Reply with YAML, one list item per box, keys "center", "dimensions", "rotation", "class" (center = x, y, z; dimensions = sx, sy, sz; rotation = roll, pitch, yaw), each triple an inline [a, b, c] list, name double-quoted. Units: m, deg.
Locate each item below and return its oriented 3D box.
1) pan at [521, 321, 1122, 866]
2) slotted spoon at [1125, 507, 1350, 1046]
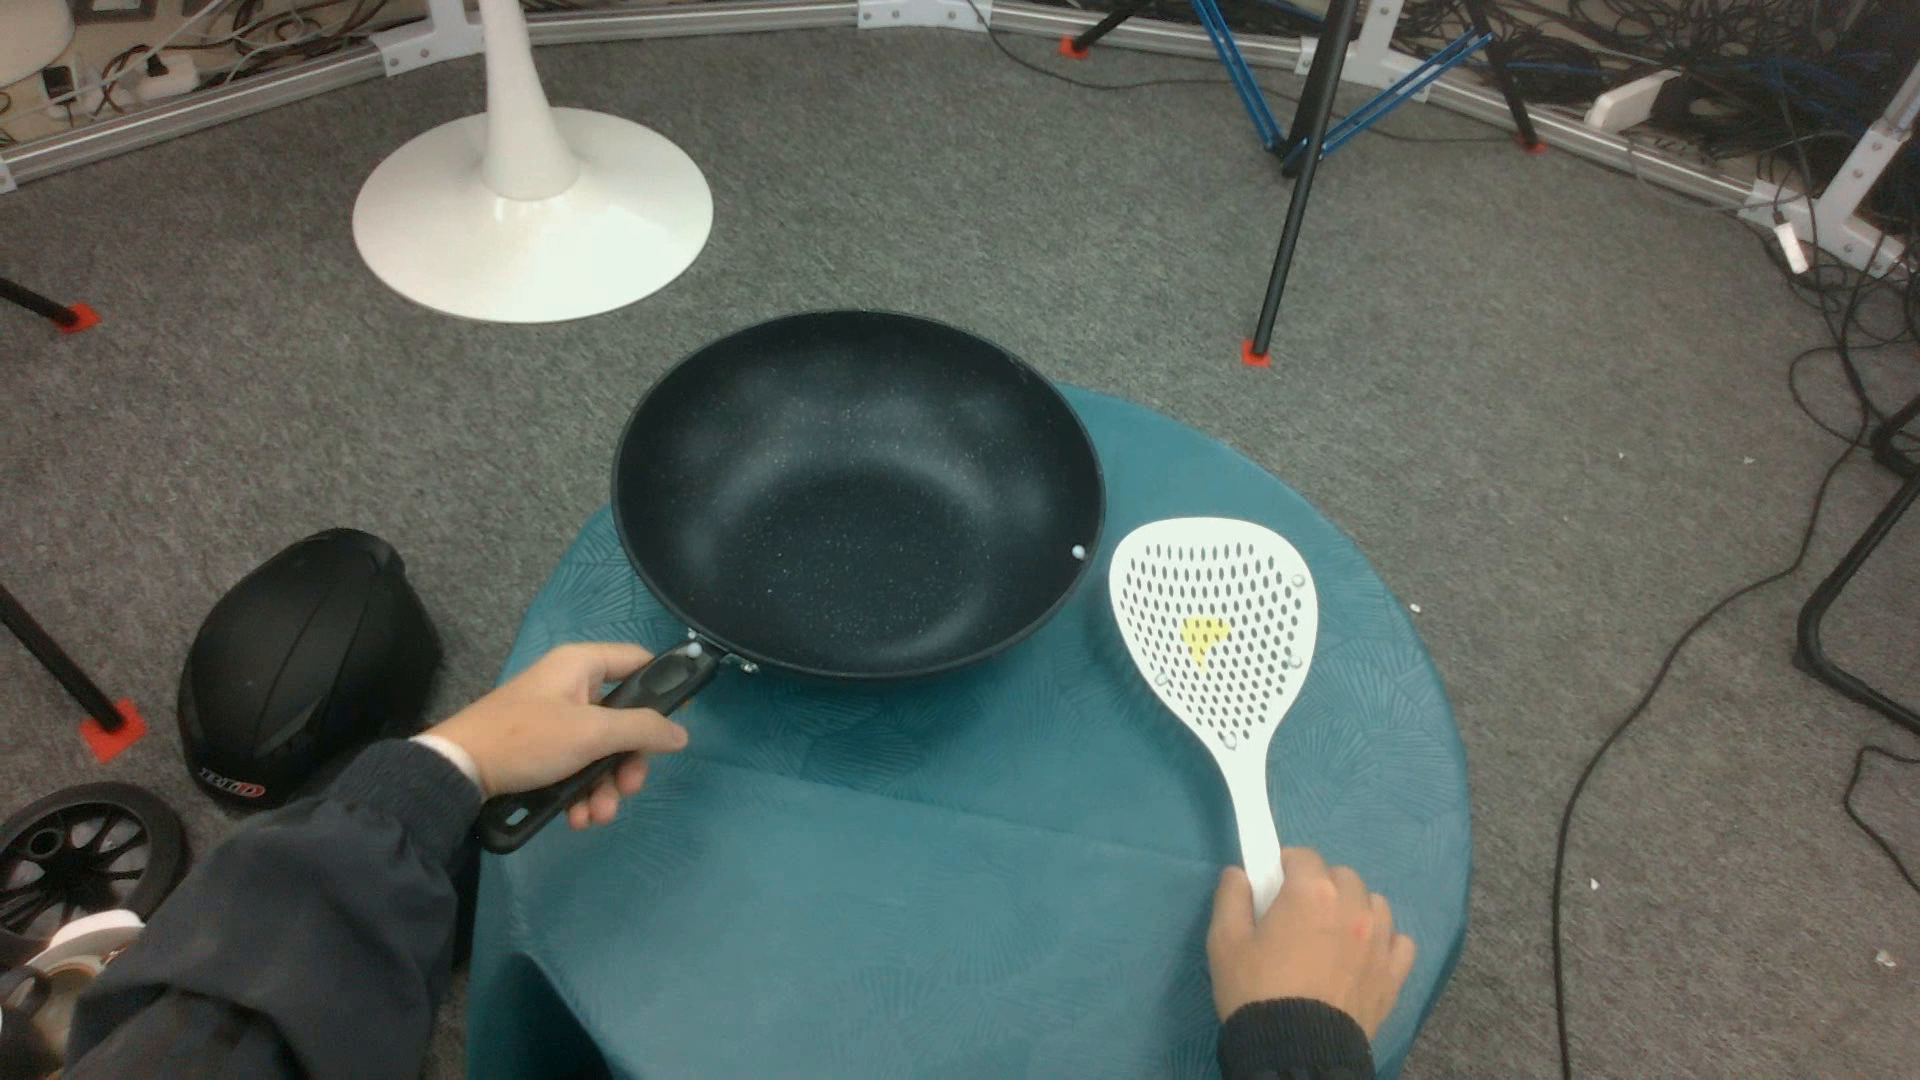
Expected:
- center: [-0.093, 0.034, 0.855]
  dimensions: [0.310, 0.111, 0.479]
  rotation: [24, 52, 17]
  class: "pan"
- center: [0.184, 0.126, 0.839]
  dimensions: [0.137, 0.050, 0.349]
  rotation: [-3, 51, -4]
  class: "slotted spoon"
